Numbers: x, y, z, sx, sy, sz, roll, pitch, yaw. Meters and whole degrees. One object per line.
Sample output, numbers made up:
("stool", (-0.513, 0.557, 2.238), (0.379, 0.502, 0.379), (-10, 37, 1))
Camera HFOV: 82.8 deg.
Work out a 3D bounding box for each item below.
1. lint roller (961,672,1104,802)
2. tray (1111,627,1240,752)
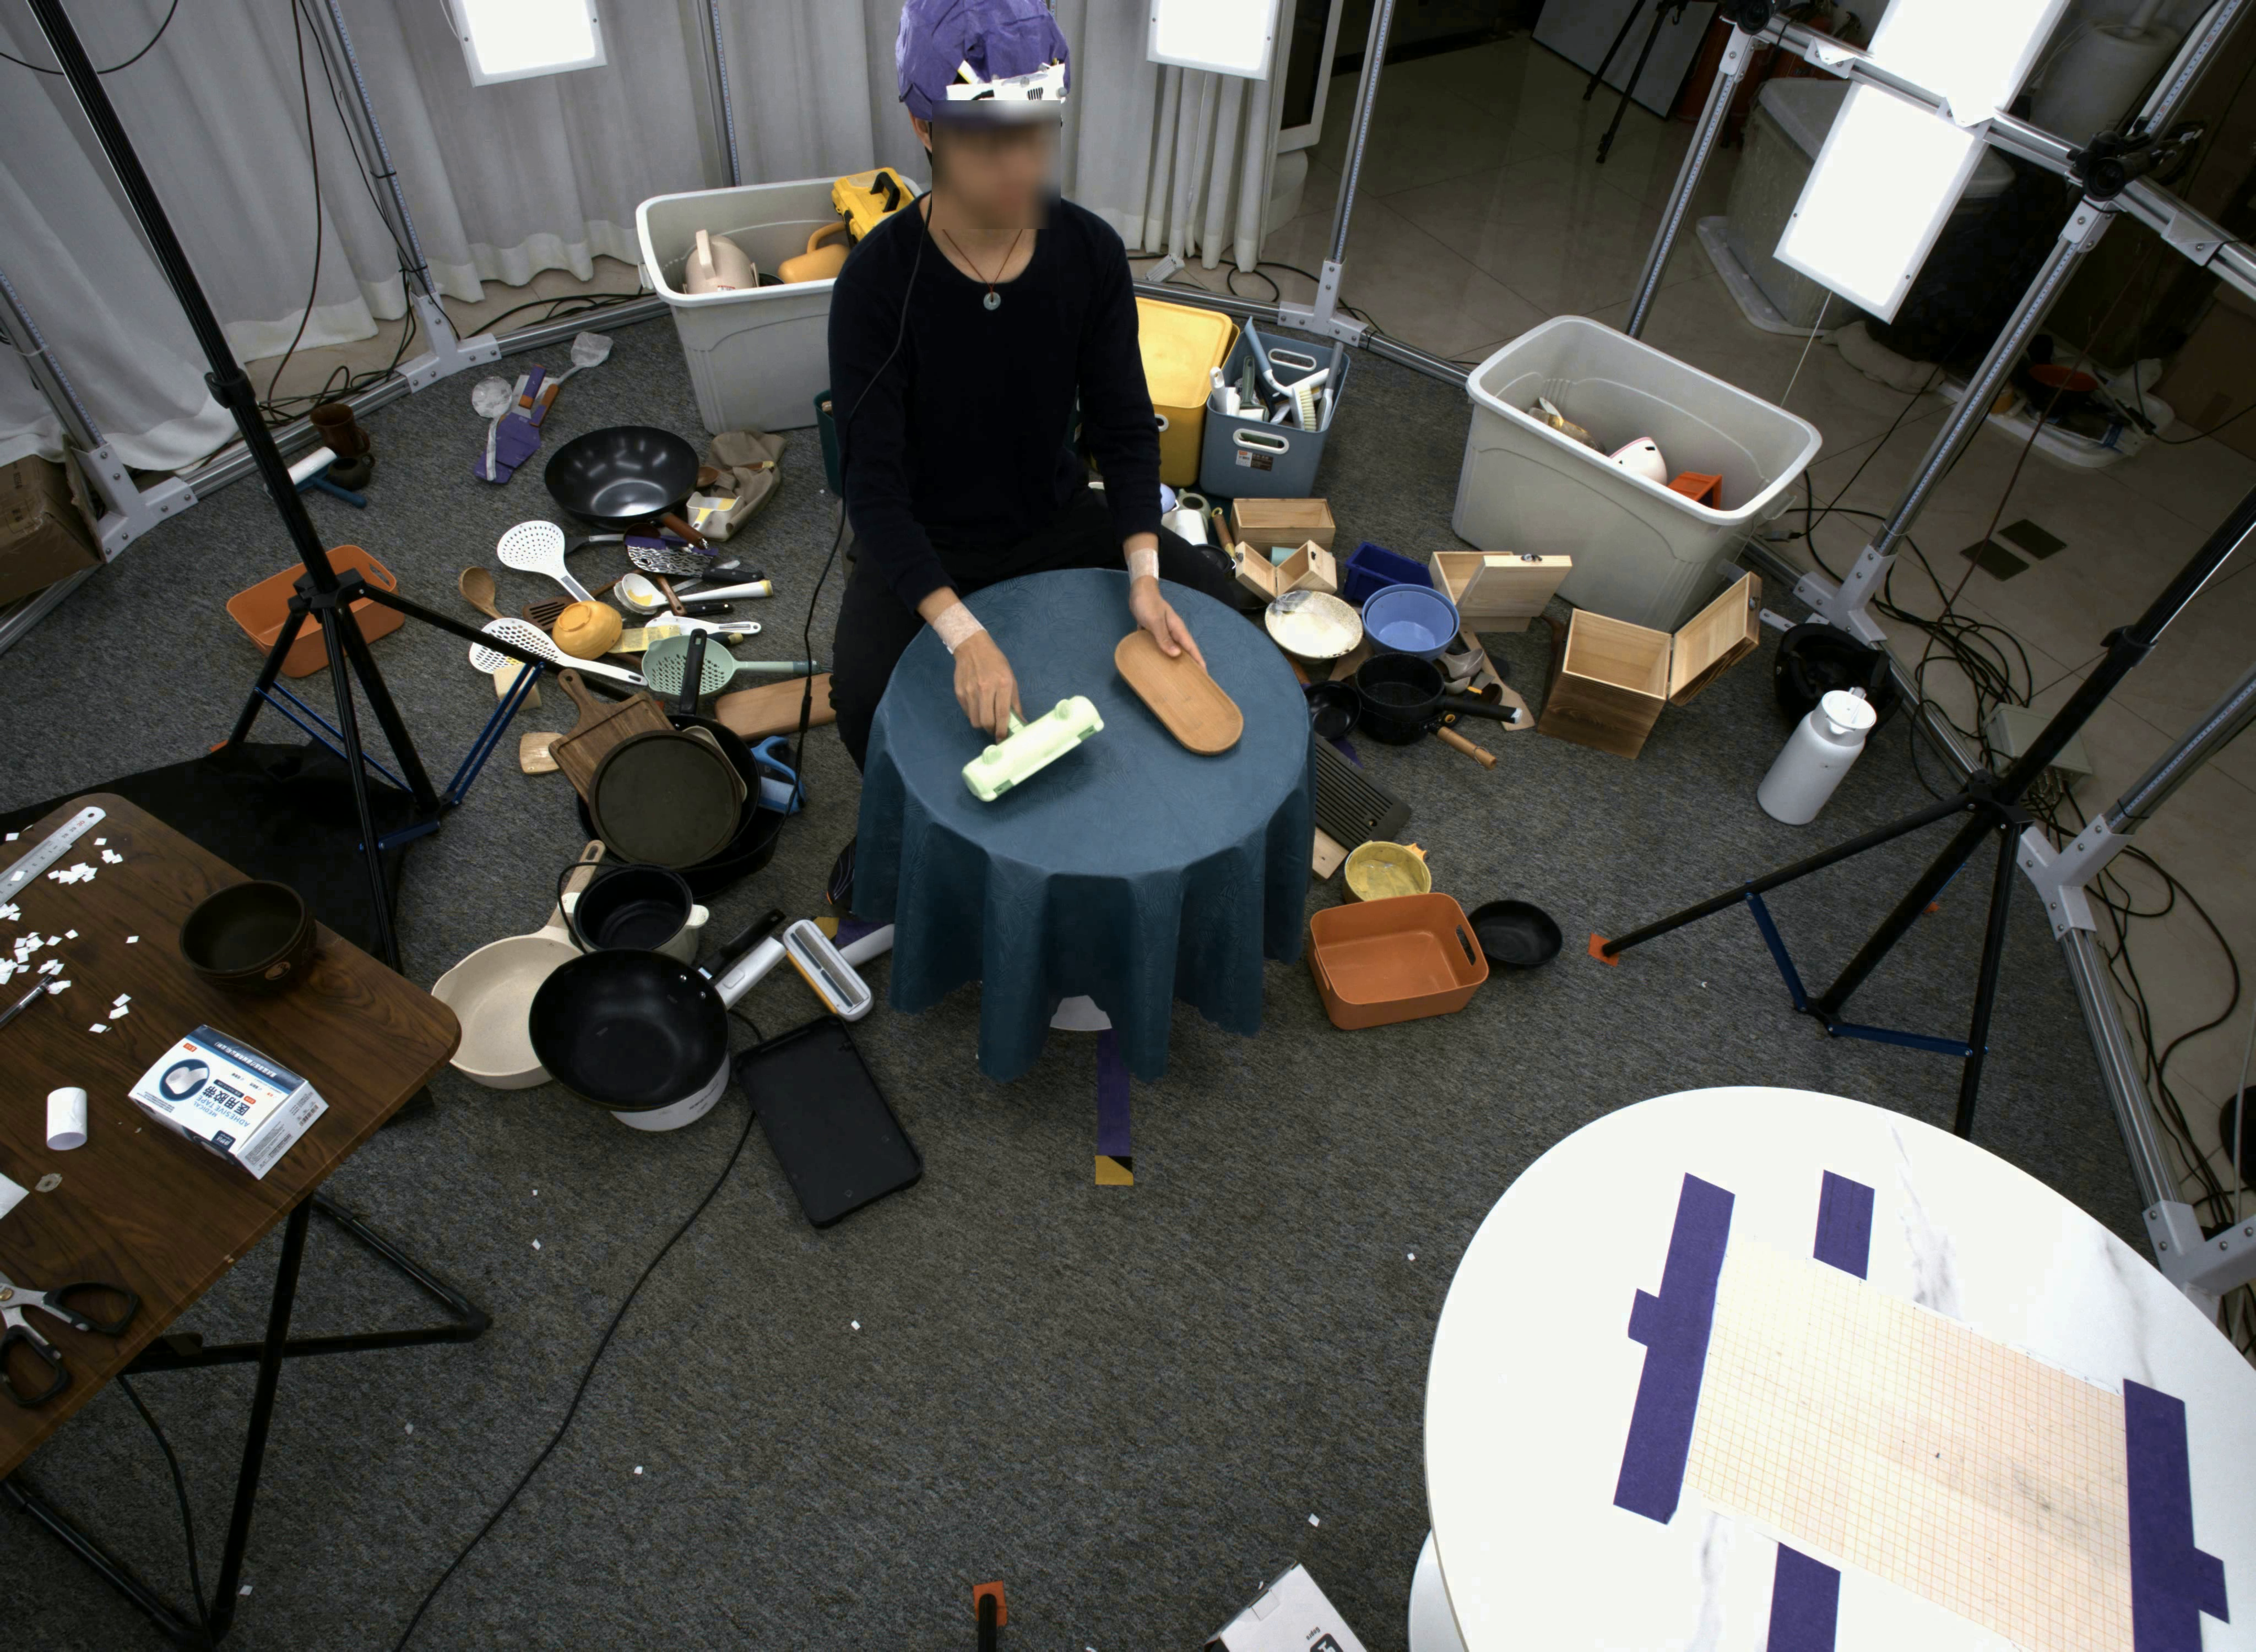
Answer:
("lint roller", (-0.161, -0.150, 1.704), (0.200, 0.081, 0.185), (-35, 73, -17))
("tray", (0.066, -0.194, 1.809), (0.102, 0.020, 0.235), (-30, 64, -21))
